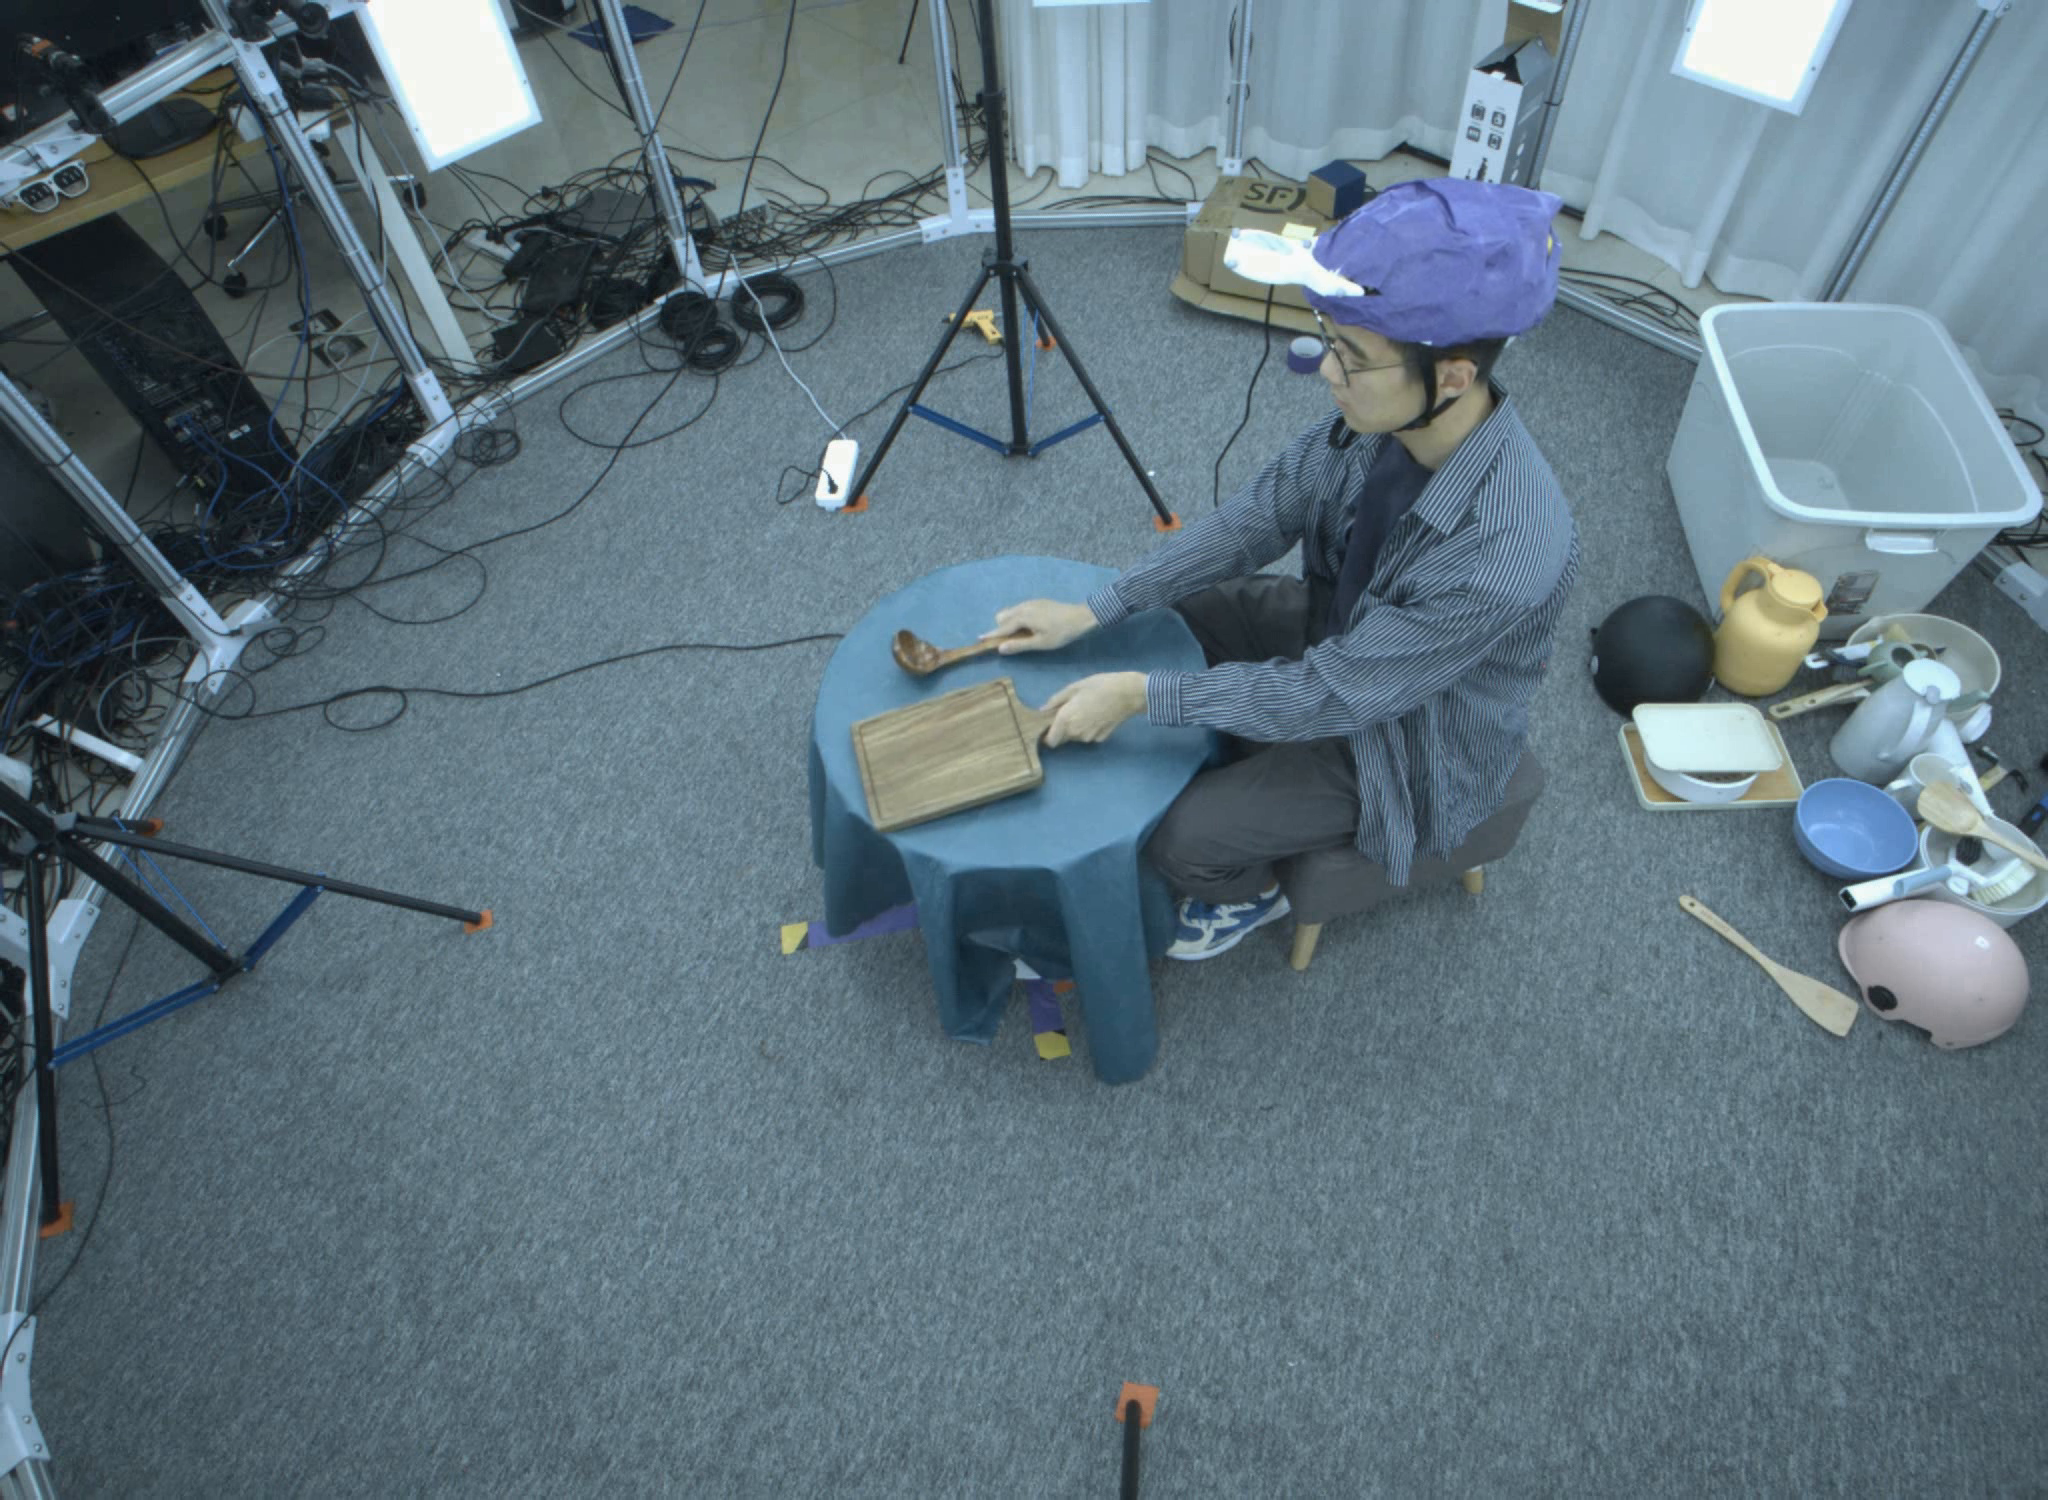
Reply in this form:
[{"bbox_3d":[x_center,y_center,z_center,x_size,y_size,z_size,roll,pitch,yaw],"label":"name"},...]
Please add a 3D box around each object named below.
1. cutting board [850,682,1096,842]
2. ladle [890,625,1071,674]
[{"bbox_3d":[-0.065,-0.001,1.762,0.353,0.023,0.198,-16,56,-3],"label":"cutting board"},{"bbox_3d":[-0.066,-0.174,1.865,0.275,0.077,0.081,-13,61,-3],"label":"ladle"}]
